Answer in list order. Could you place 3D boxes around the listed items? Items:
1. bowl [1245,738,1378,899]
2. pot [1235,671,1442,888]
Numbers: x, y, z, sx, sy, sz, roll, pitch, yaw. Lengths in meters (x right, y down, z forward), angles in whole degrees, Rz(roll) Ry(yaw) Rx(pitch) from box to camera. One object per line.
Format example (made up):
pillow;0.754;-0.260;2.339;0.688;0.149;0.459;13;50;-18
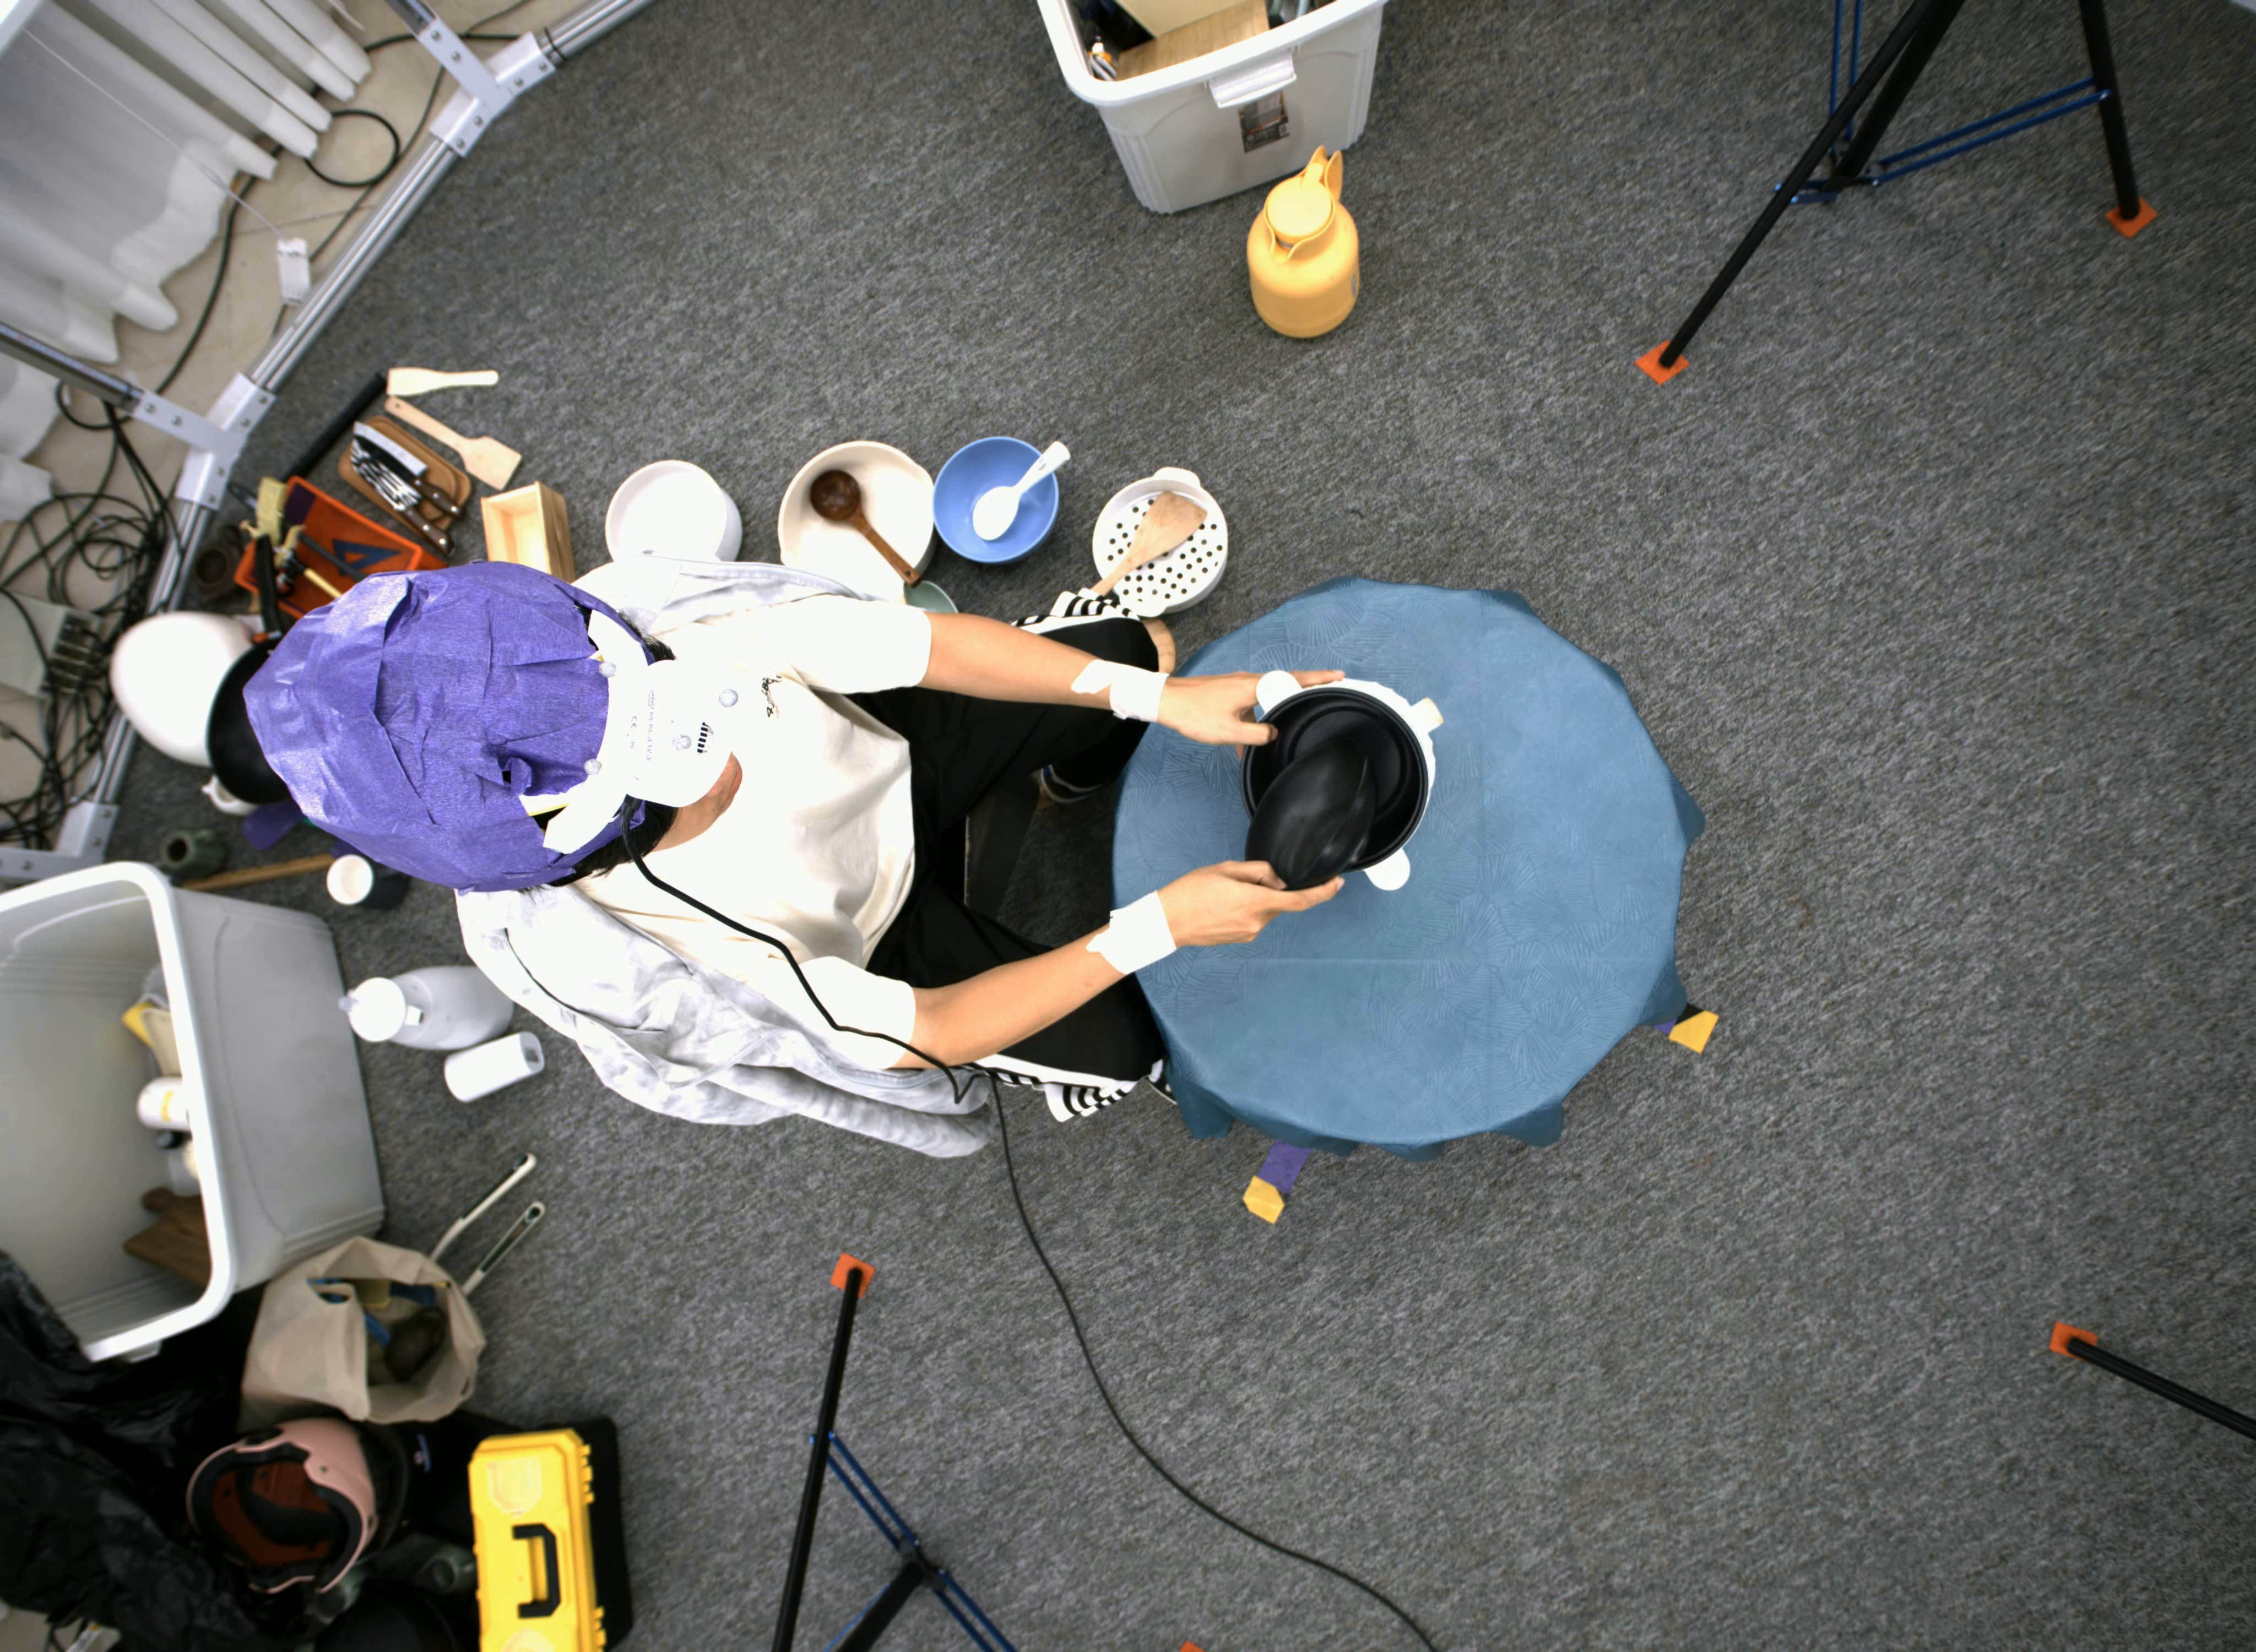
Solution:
bowl;0.182;0.001;1.284;0.067;0.138;0.168;36;73;-26
pot;0.216;-0.063;1.361;0.194;0.140;0.241;-32;94;27
